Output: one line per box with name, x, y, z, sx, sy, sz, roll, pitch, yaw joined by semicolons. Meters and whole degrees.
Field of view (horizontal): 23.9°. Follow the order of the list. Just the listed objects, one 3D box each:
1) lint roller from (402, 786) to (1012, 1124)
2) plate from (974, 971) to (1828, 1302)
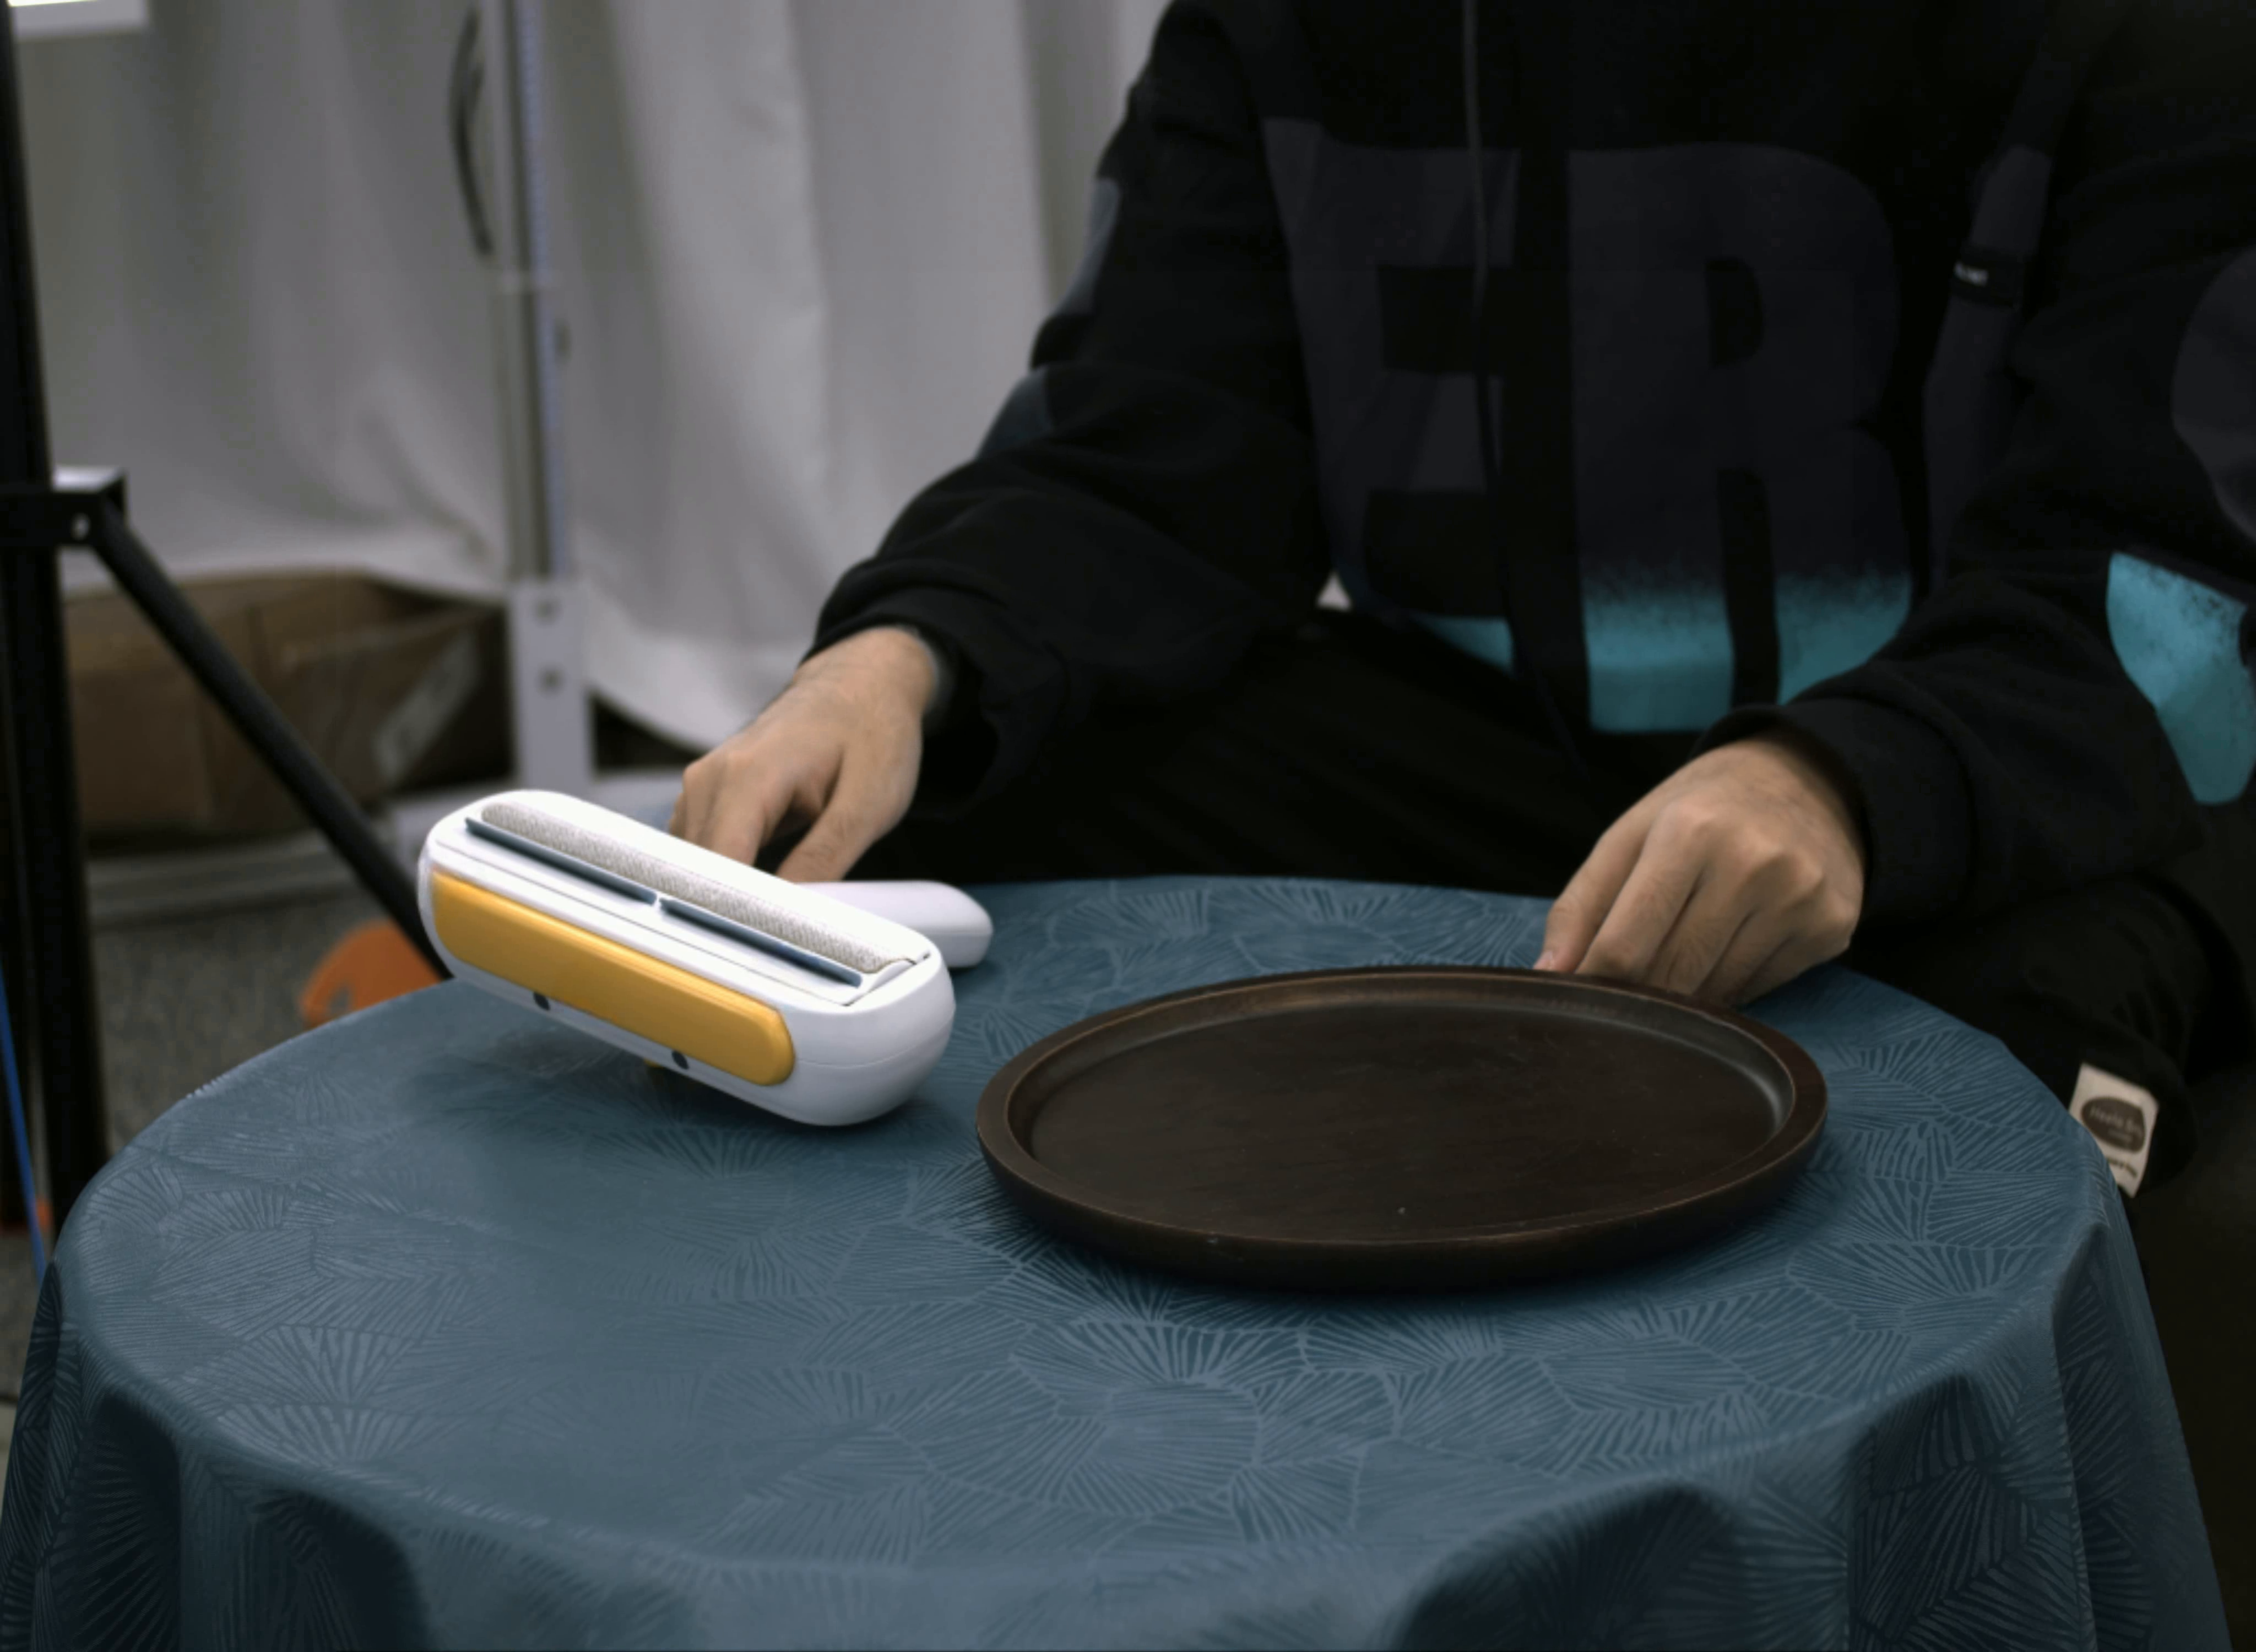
lint roller;-0.109;0.034;1.717;0.197;0.074;0.188;17;23;38
plate;0.081;0.089;1.568;0.253;0.029;0.256;-2;15;-1
